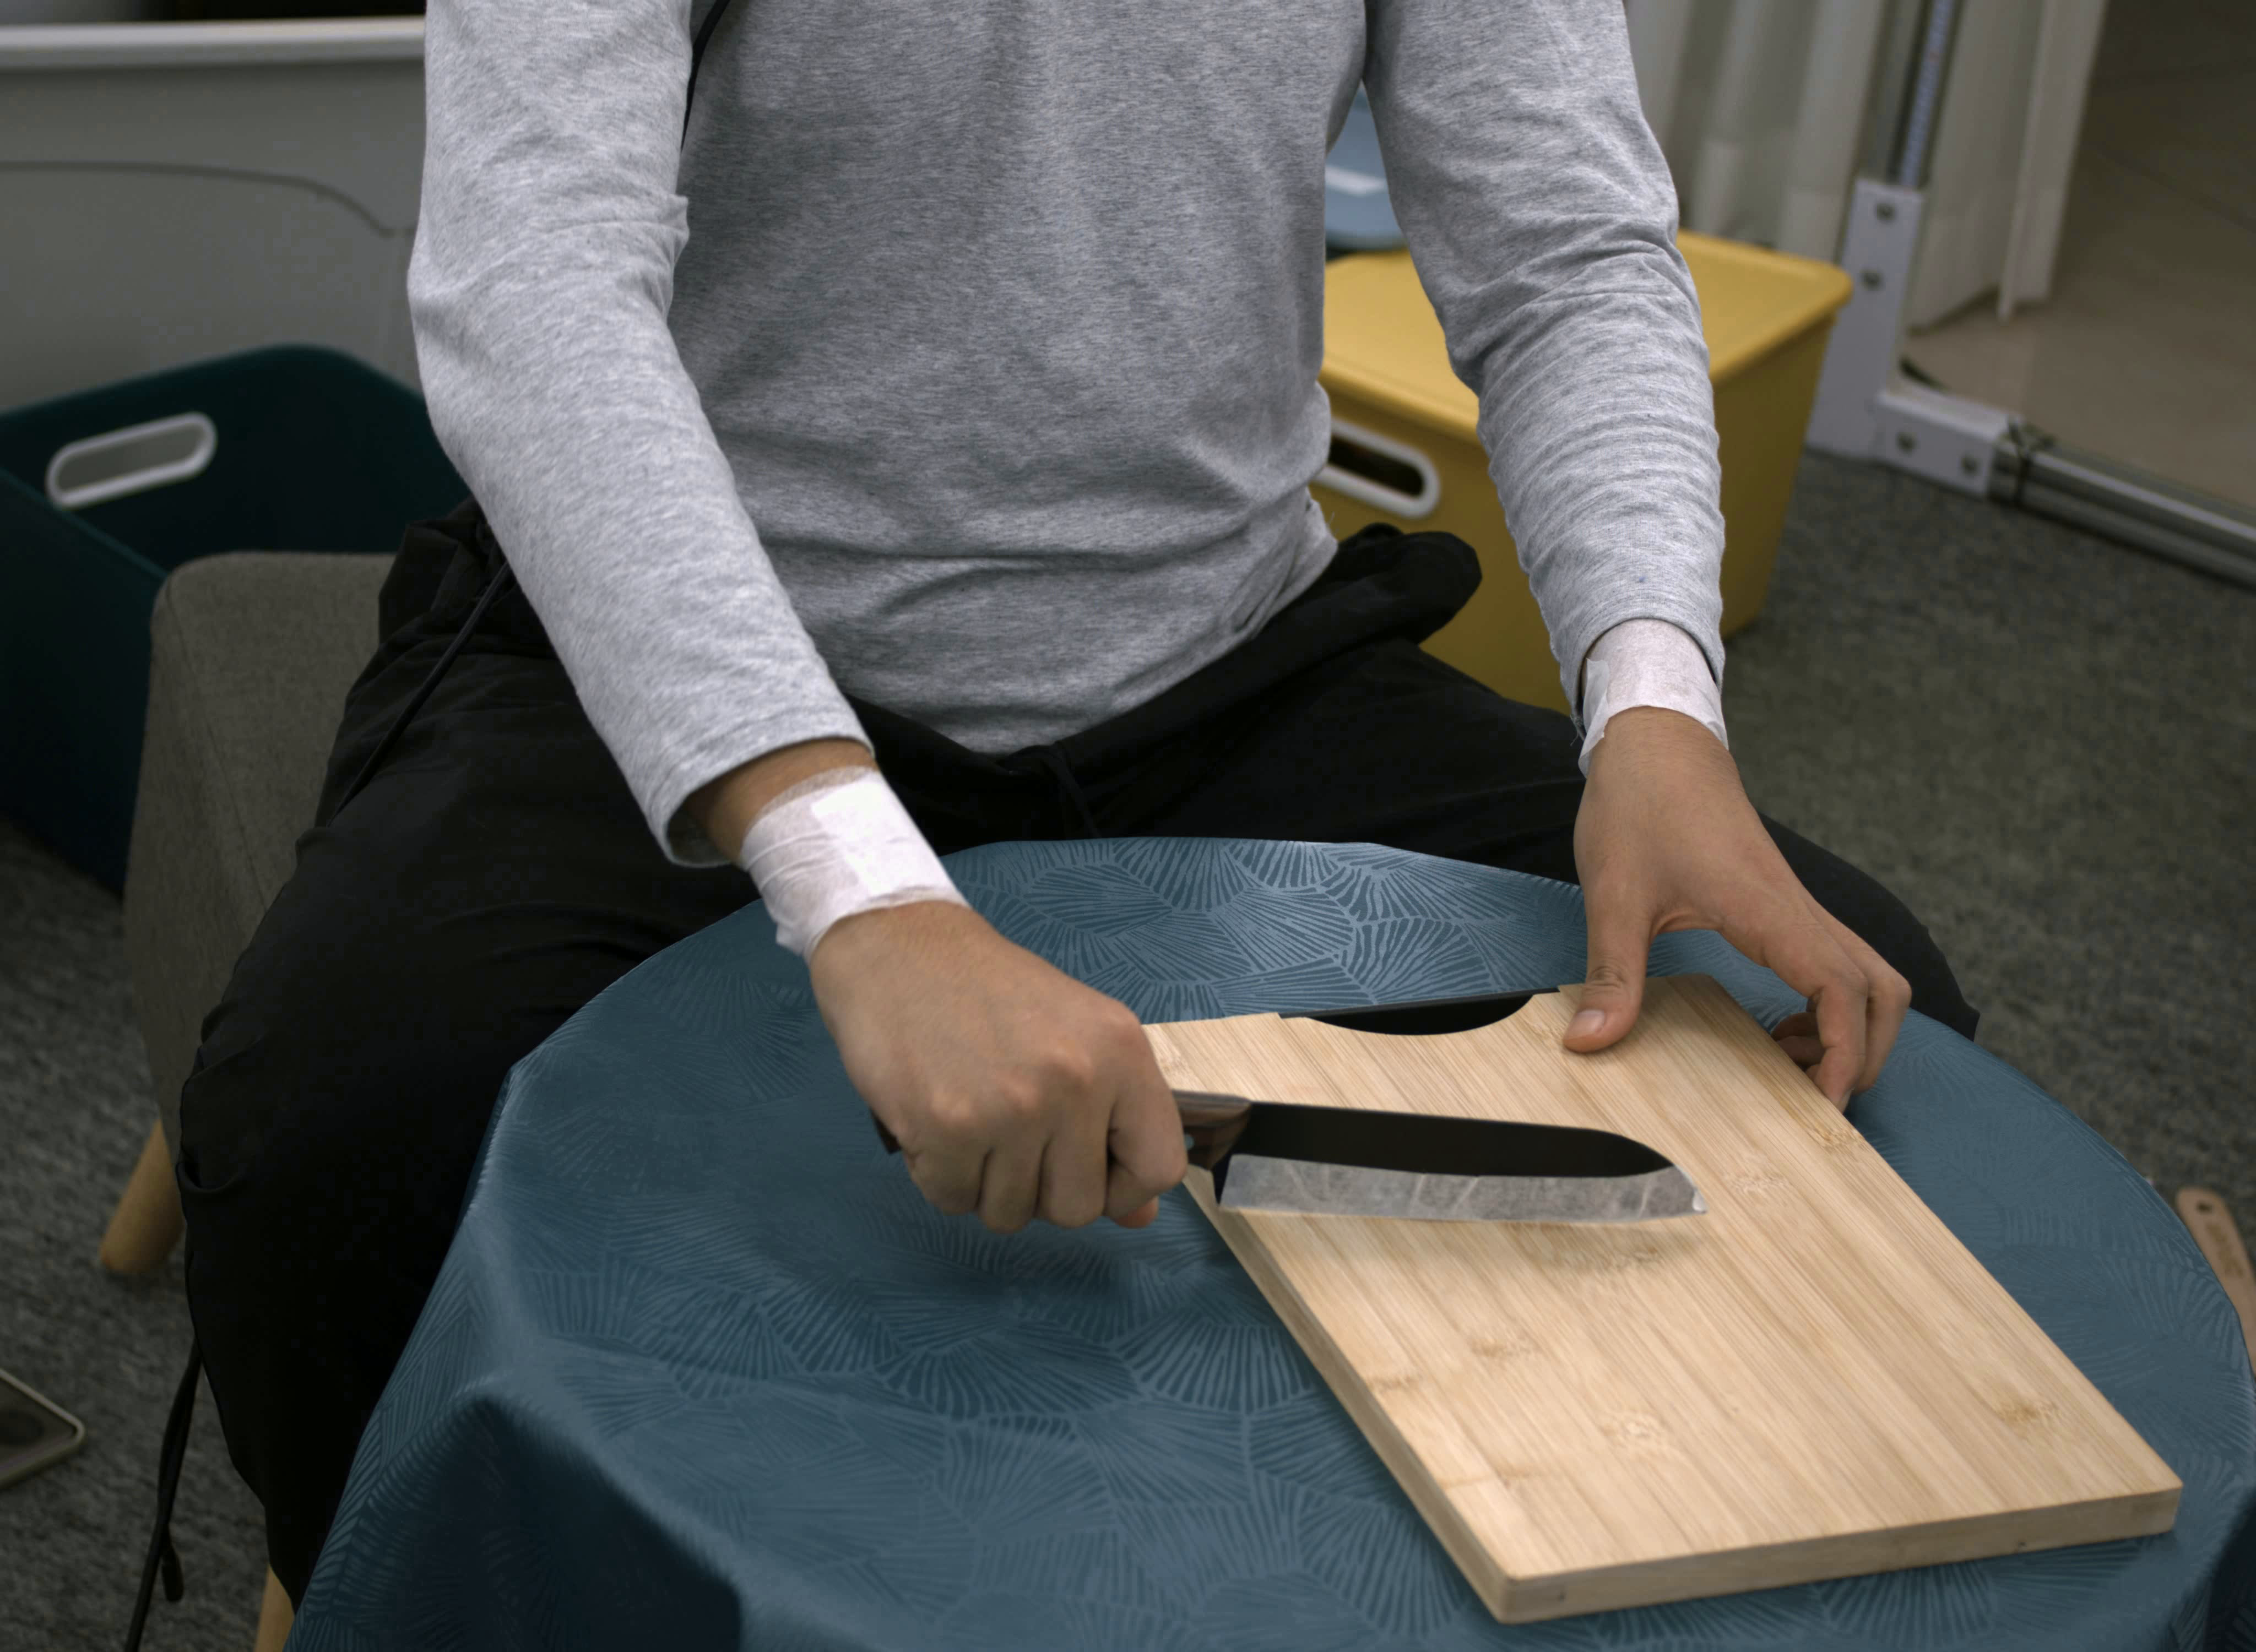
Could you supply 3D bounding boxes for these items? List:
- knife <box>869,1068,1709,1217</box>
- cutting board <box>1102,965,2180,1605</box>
[{"bbox_3d":[0.055,0.107,1.755,0.287,0.050,0.020,7,37,-11],"label":"knife"},{"bbox_3d":[0.161,0.146,1.781,0.249,0.023,0.352,-4,29,-22],"label":"cutting board"}]
